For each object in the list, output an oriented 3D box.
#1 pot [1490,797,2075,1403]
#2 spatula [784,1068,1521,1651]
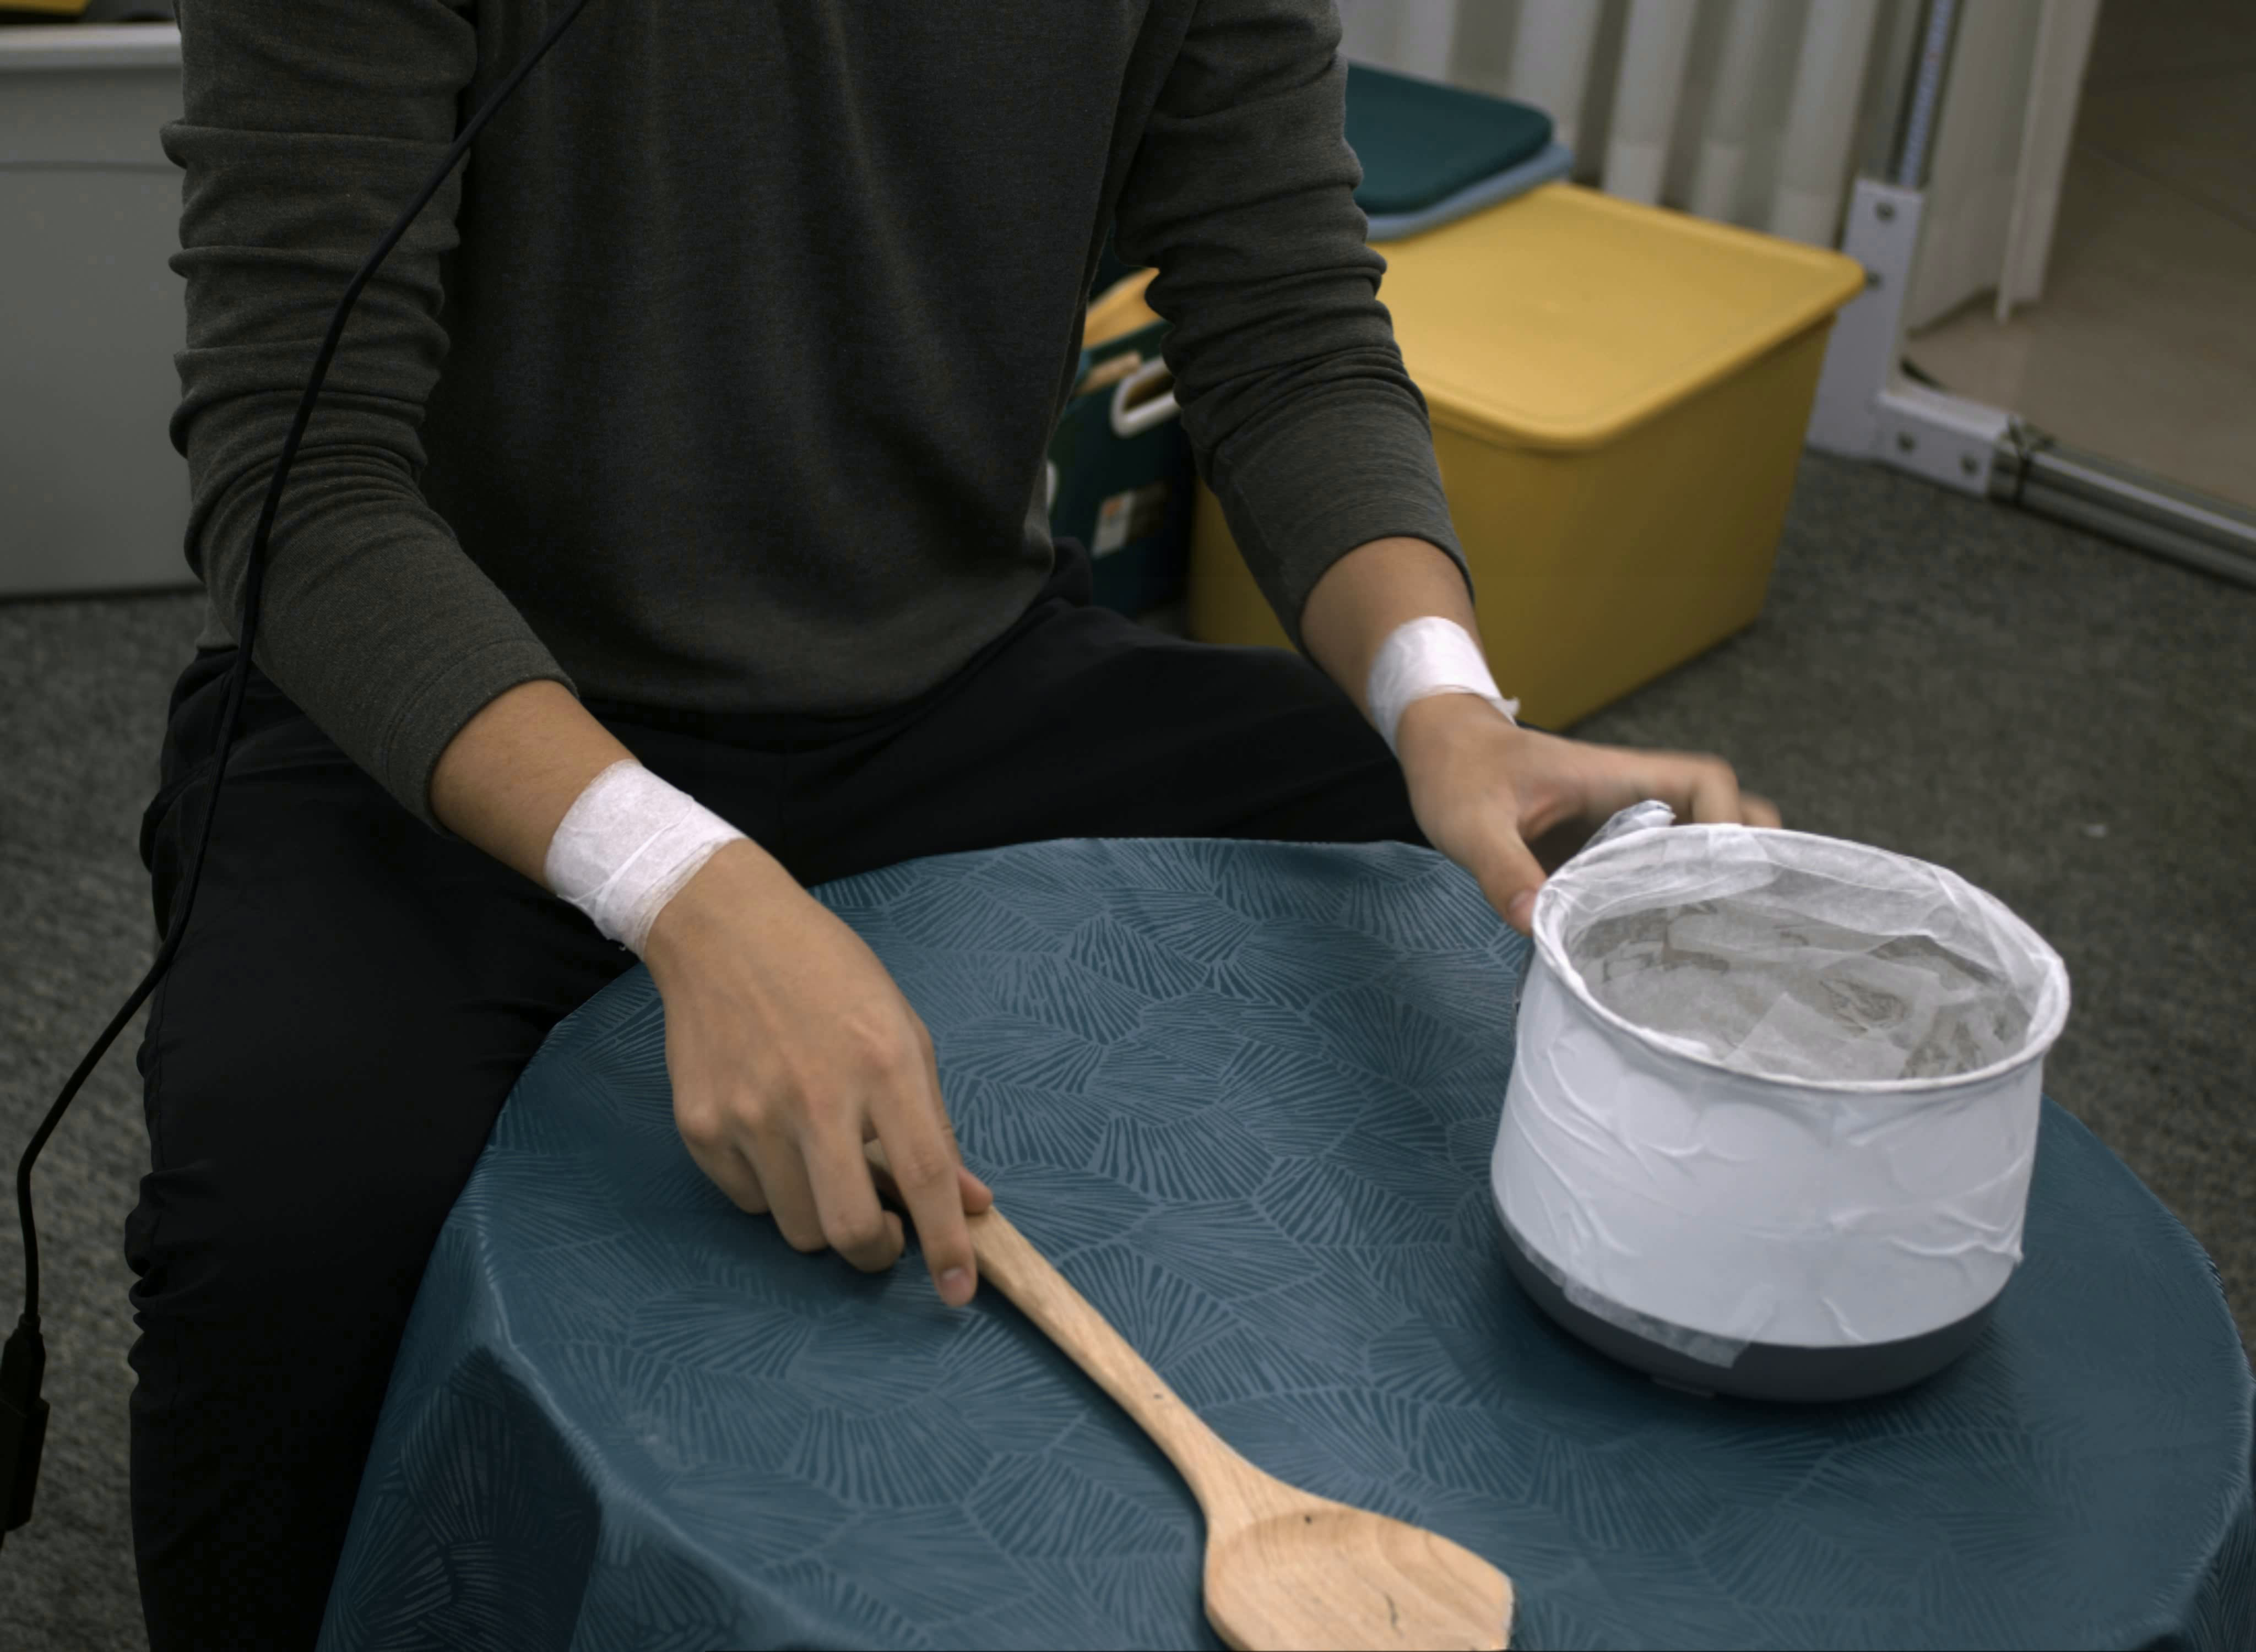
[{"bbox_3d":[0.200,0.084,1.778,0.177,0.136,0.236,-6,29,-25],"label":"pot"},{"bbox_3d":[-0.015,0.169,1.694,0.095,0.018,0.394,-9,31,-31],"label":"spatula"}]
